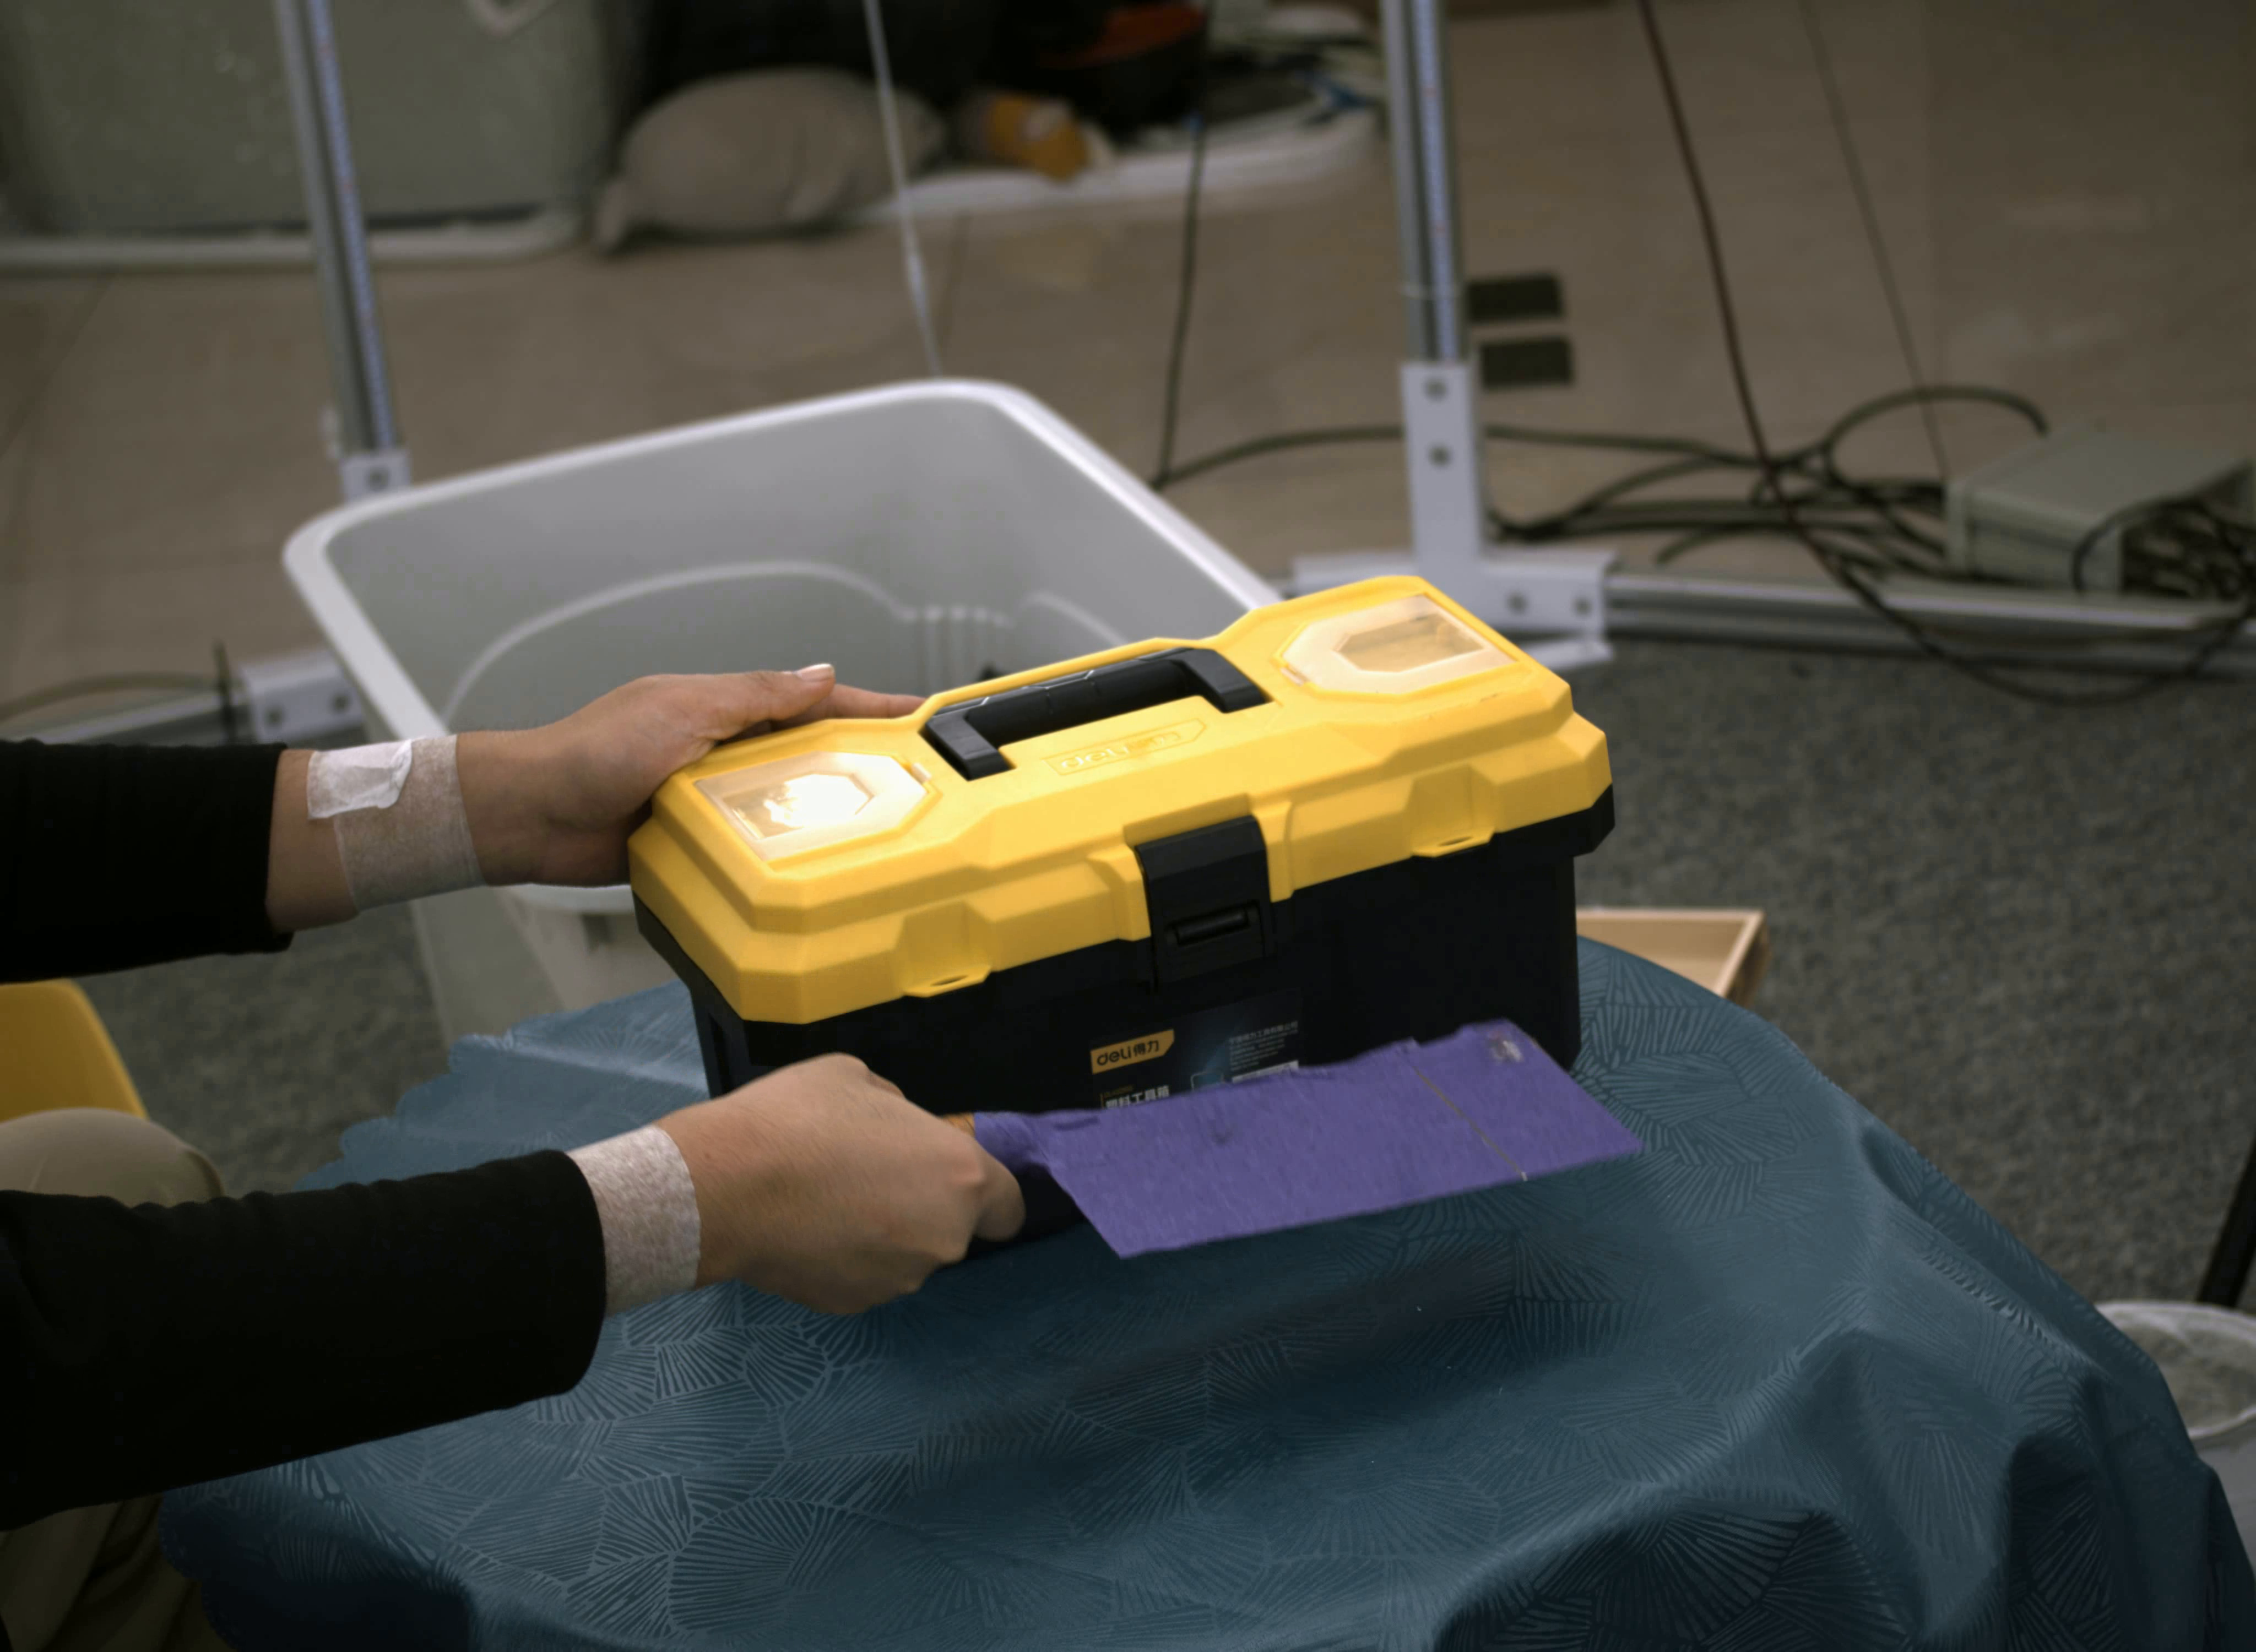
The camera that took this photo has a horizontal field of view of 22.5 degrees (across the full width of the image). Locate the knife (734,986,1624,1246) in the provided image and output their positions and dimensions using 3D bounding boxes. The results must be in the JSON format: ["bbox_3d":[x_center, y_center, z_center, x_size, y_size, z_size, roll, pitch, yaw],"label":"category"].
[{"bbox_3d":[0.023,0.109,1.975,0.314,0.033,0.102,-13,32,-24],"label":"knife"}]

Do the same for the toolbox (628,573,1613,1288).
[{"bbox_3d":[0.002,0.038,2.156,0.350,0.175,0.179,-15,26,-17],"label":"toolbox"}]
